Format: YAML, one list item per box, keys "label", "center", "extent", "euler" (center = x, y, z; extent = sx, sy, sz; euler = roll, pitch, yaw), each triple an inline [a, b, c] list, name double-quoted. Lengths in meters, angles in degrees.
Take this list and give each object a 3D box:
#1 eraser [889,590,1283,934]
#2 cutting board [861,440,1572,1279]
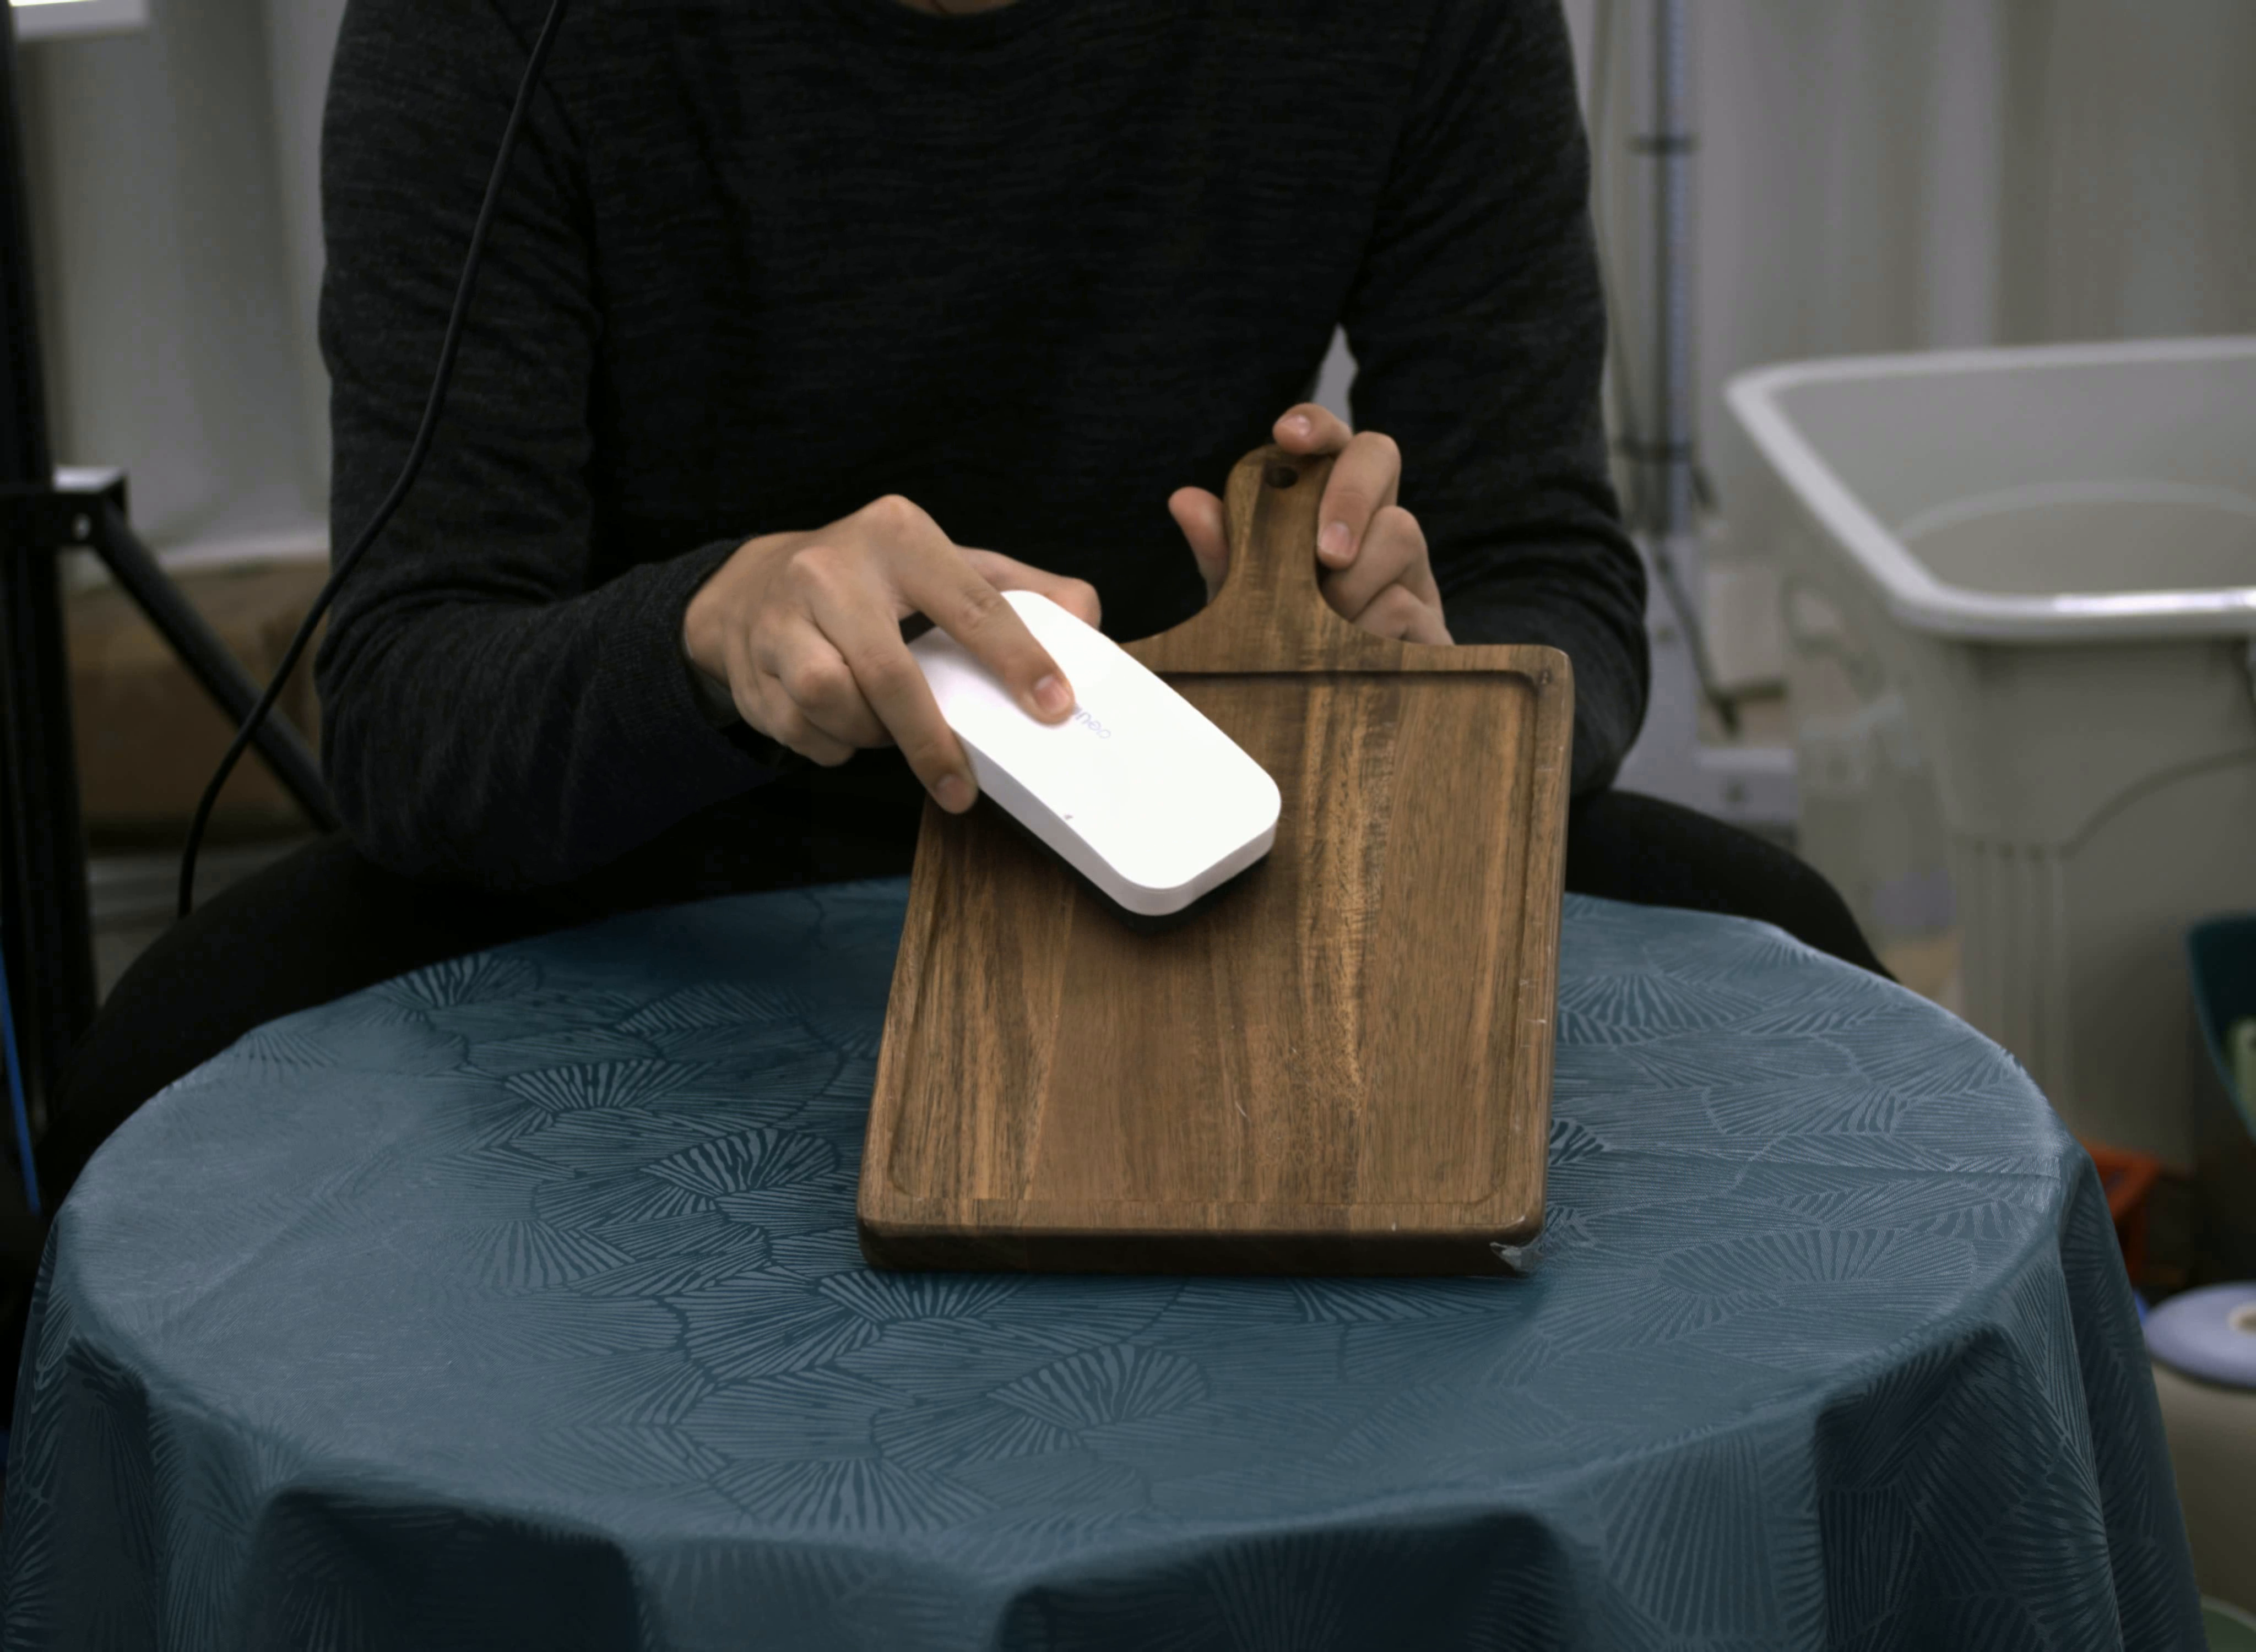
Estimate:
- label: "eraser"
  center: [-0.012, -0.022, 1.605]
  extent: [0.062, 0.034, 0.134]
  euler: [-32, 54, -25]
- label: "cutting board"
  center: [0.035, 0.002, 1.608]
  extent: [0.201, 0.023, 0.354]
  euler: [-1, 42, 9]
